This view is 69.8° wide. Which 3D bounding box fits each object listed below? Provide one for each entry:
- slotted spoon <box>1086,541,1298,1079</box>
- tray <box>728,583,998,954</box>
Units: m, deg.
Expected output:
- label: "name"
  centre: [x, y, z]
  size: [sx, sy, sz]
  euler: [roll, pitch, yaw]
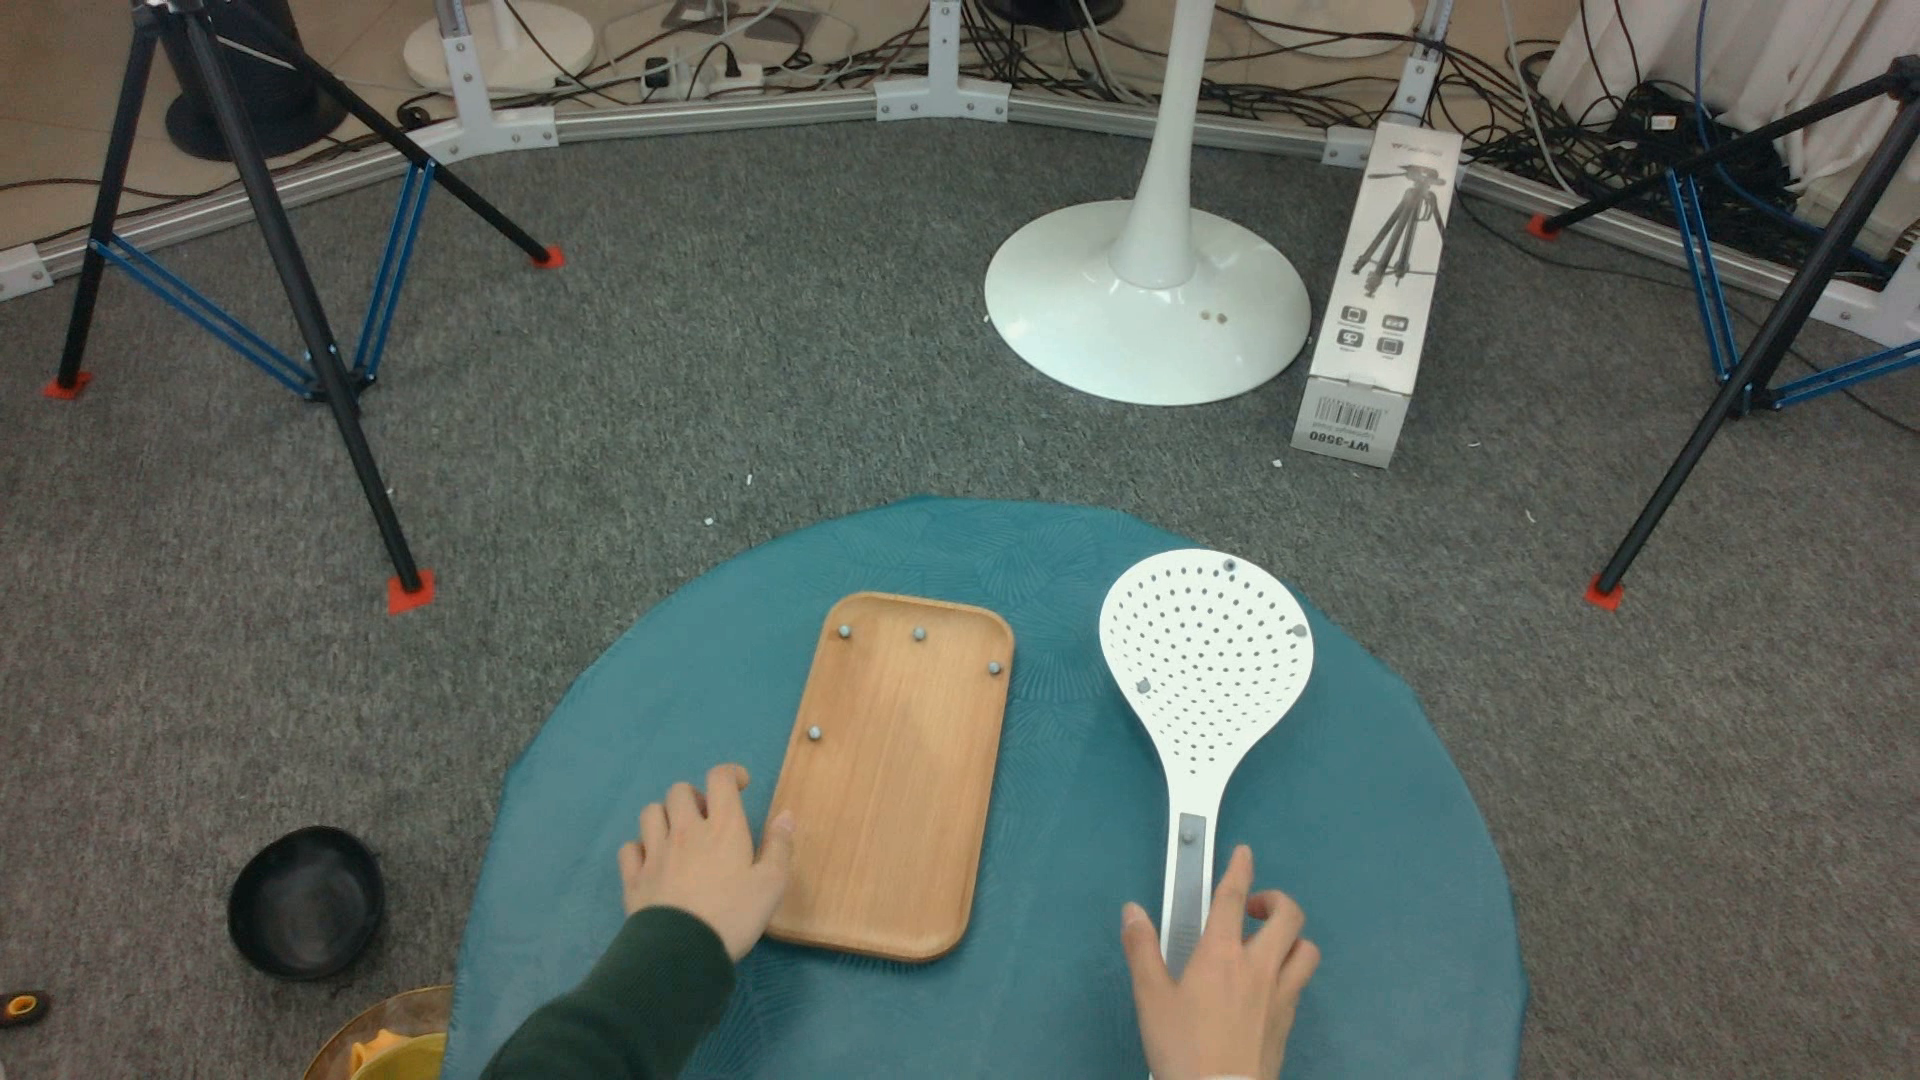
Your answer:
- label: "slotted spoon"
  centre: [0.130, 0.145, 0.821]
  size: [0.136, 0.045, 0.351]
  euler: [9, 49, 4]
- label: "tray"
  centre: [-0.053, 0.130, 0.840]
  size: [0.130, 0.023, 0.252]
  euler: [8, 49, 5]
